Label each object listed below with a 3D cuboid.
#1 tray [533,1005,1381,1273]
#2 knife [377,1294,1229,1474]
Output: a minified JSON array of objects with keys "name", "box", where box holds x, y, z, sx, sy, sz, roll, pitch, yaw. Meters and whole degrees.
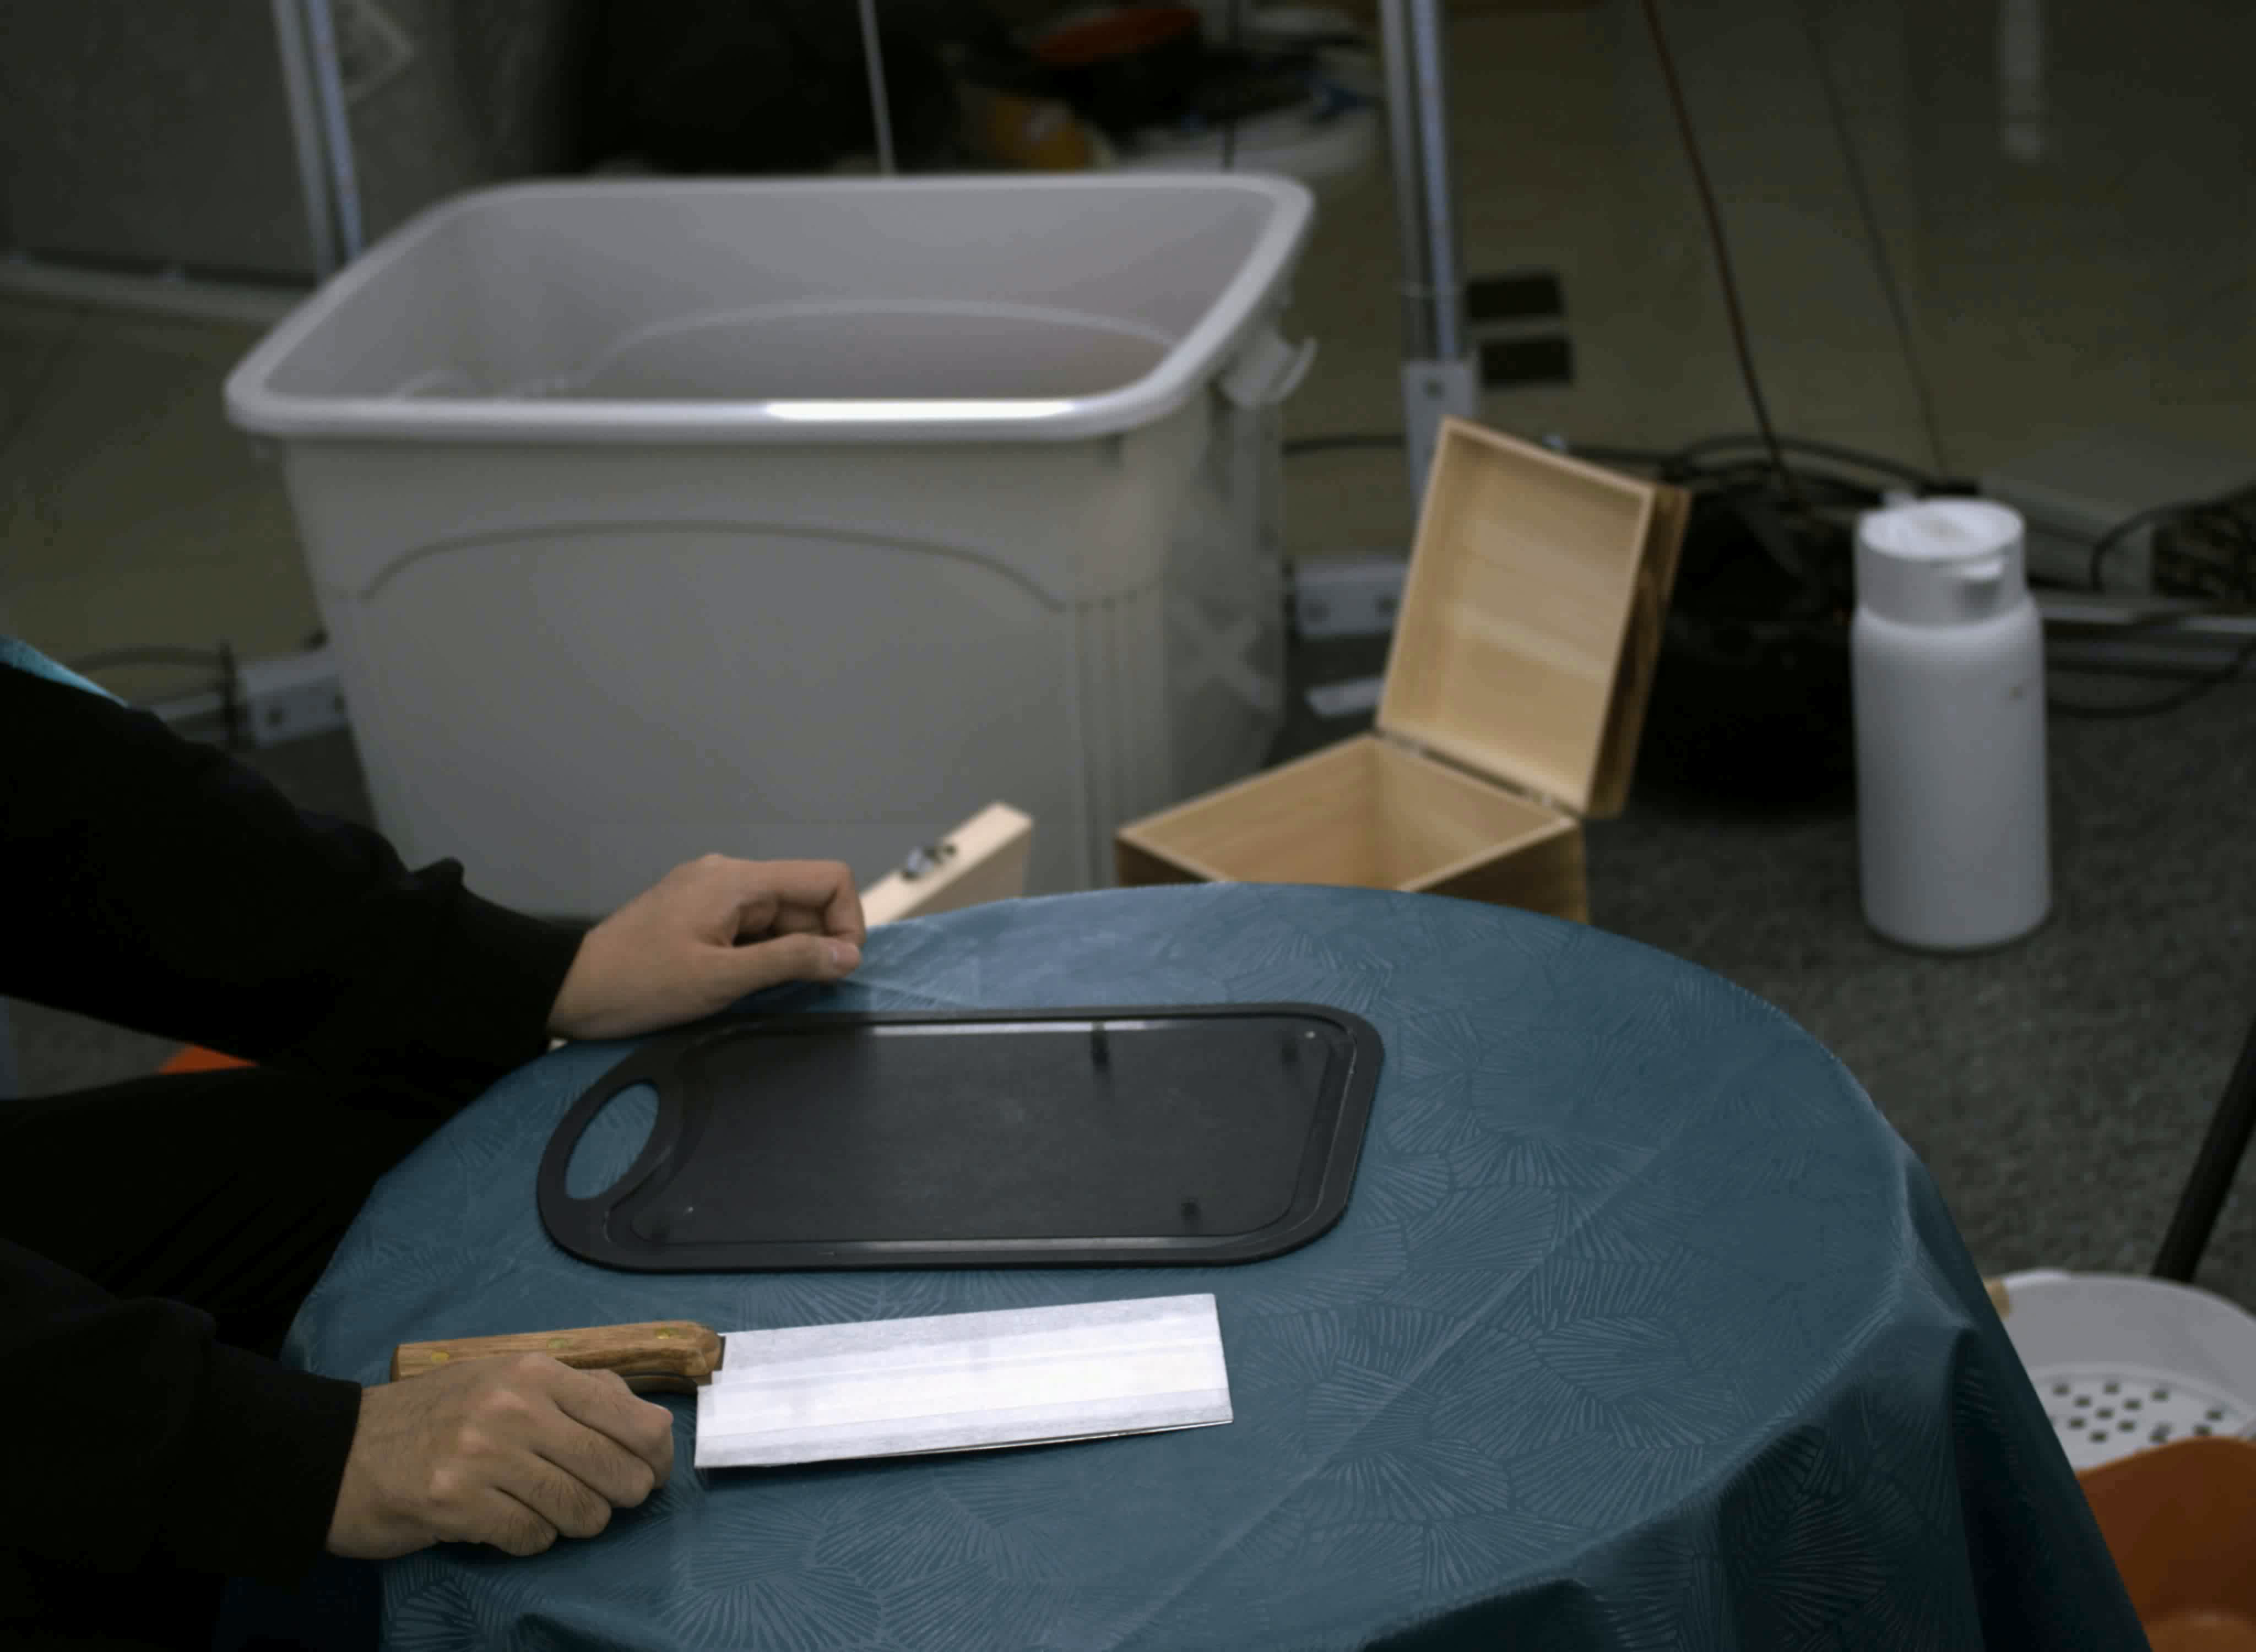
[{"name":"tray","box":[-0.070,0.119,2.199,0.325,0.010,0.208,-1,25,11]},{"name":"knife","box":[-0.117,0.201,2.024,0.305,0.021,0.091,-5,26,-2]}]
